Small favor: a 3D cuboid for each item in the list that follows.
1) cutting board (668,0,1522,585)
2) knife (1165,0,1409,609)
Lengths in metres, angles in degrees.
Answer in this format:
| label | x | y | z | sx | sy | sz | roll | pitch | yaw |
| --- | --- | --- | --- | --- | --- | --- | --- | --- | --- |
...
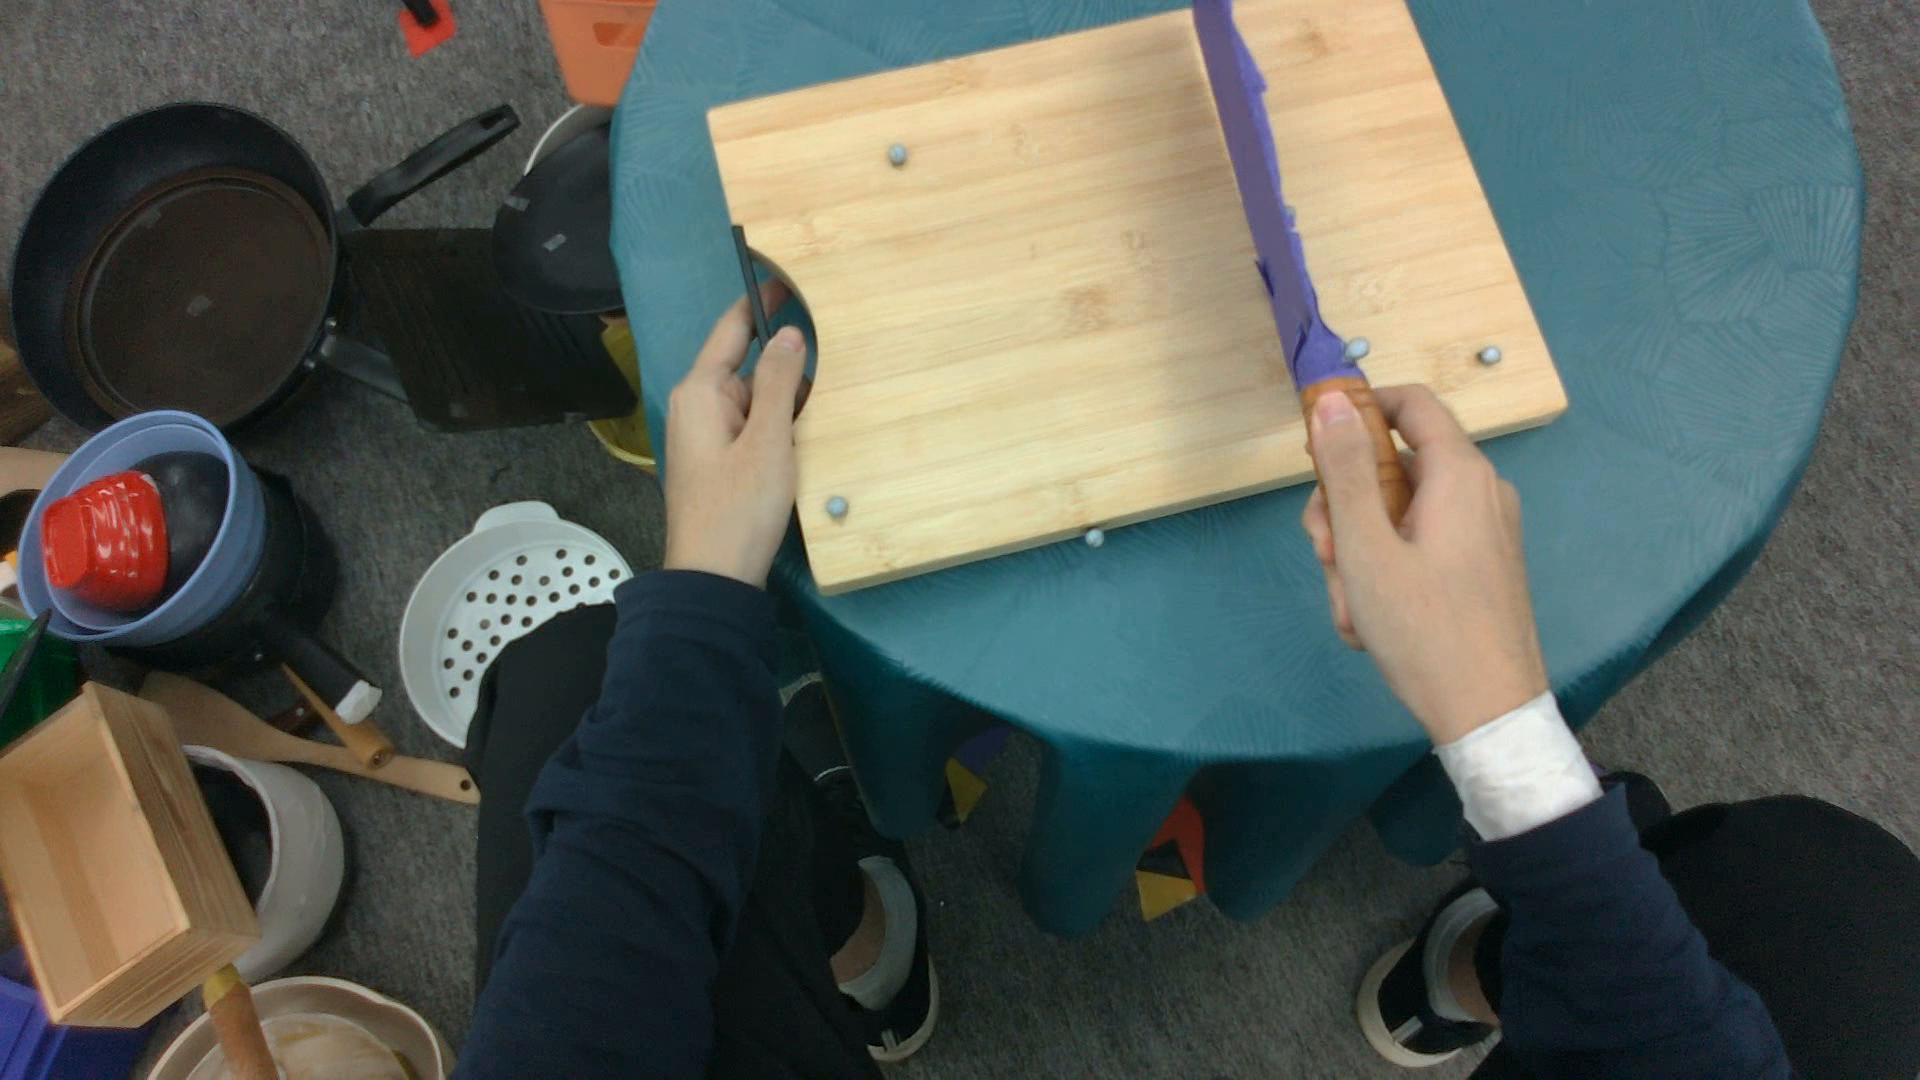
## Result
| label | x | y | z | sx | sy | sz | roll | pitch | yaw |
| --- | --- | --- | --- | --- | --- | --- | --- | --- | --- |
| cutting board | 0.060 | -0.132 | 0.637 | 0.349 | 0.023 | 0.251 | -14 | 73 | -6 |
| knife | 0.128 | -0.120 | 0.576 | 0.032 | 0.104 | 0.316 | -13 | 75 | 7 |
